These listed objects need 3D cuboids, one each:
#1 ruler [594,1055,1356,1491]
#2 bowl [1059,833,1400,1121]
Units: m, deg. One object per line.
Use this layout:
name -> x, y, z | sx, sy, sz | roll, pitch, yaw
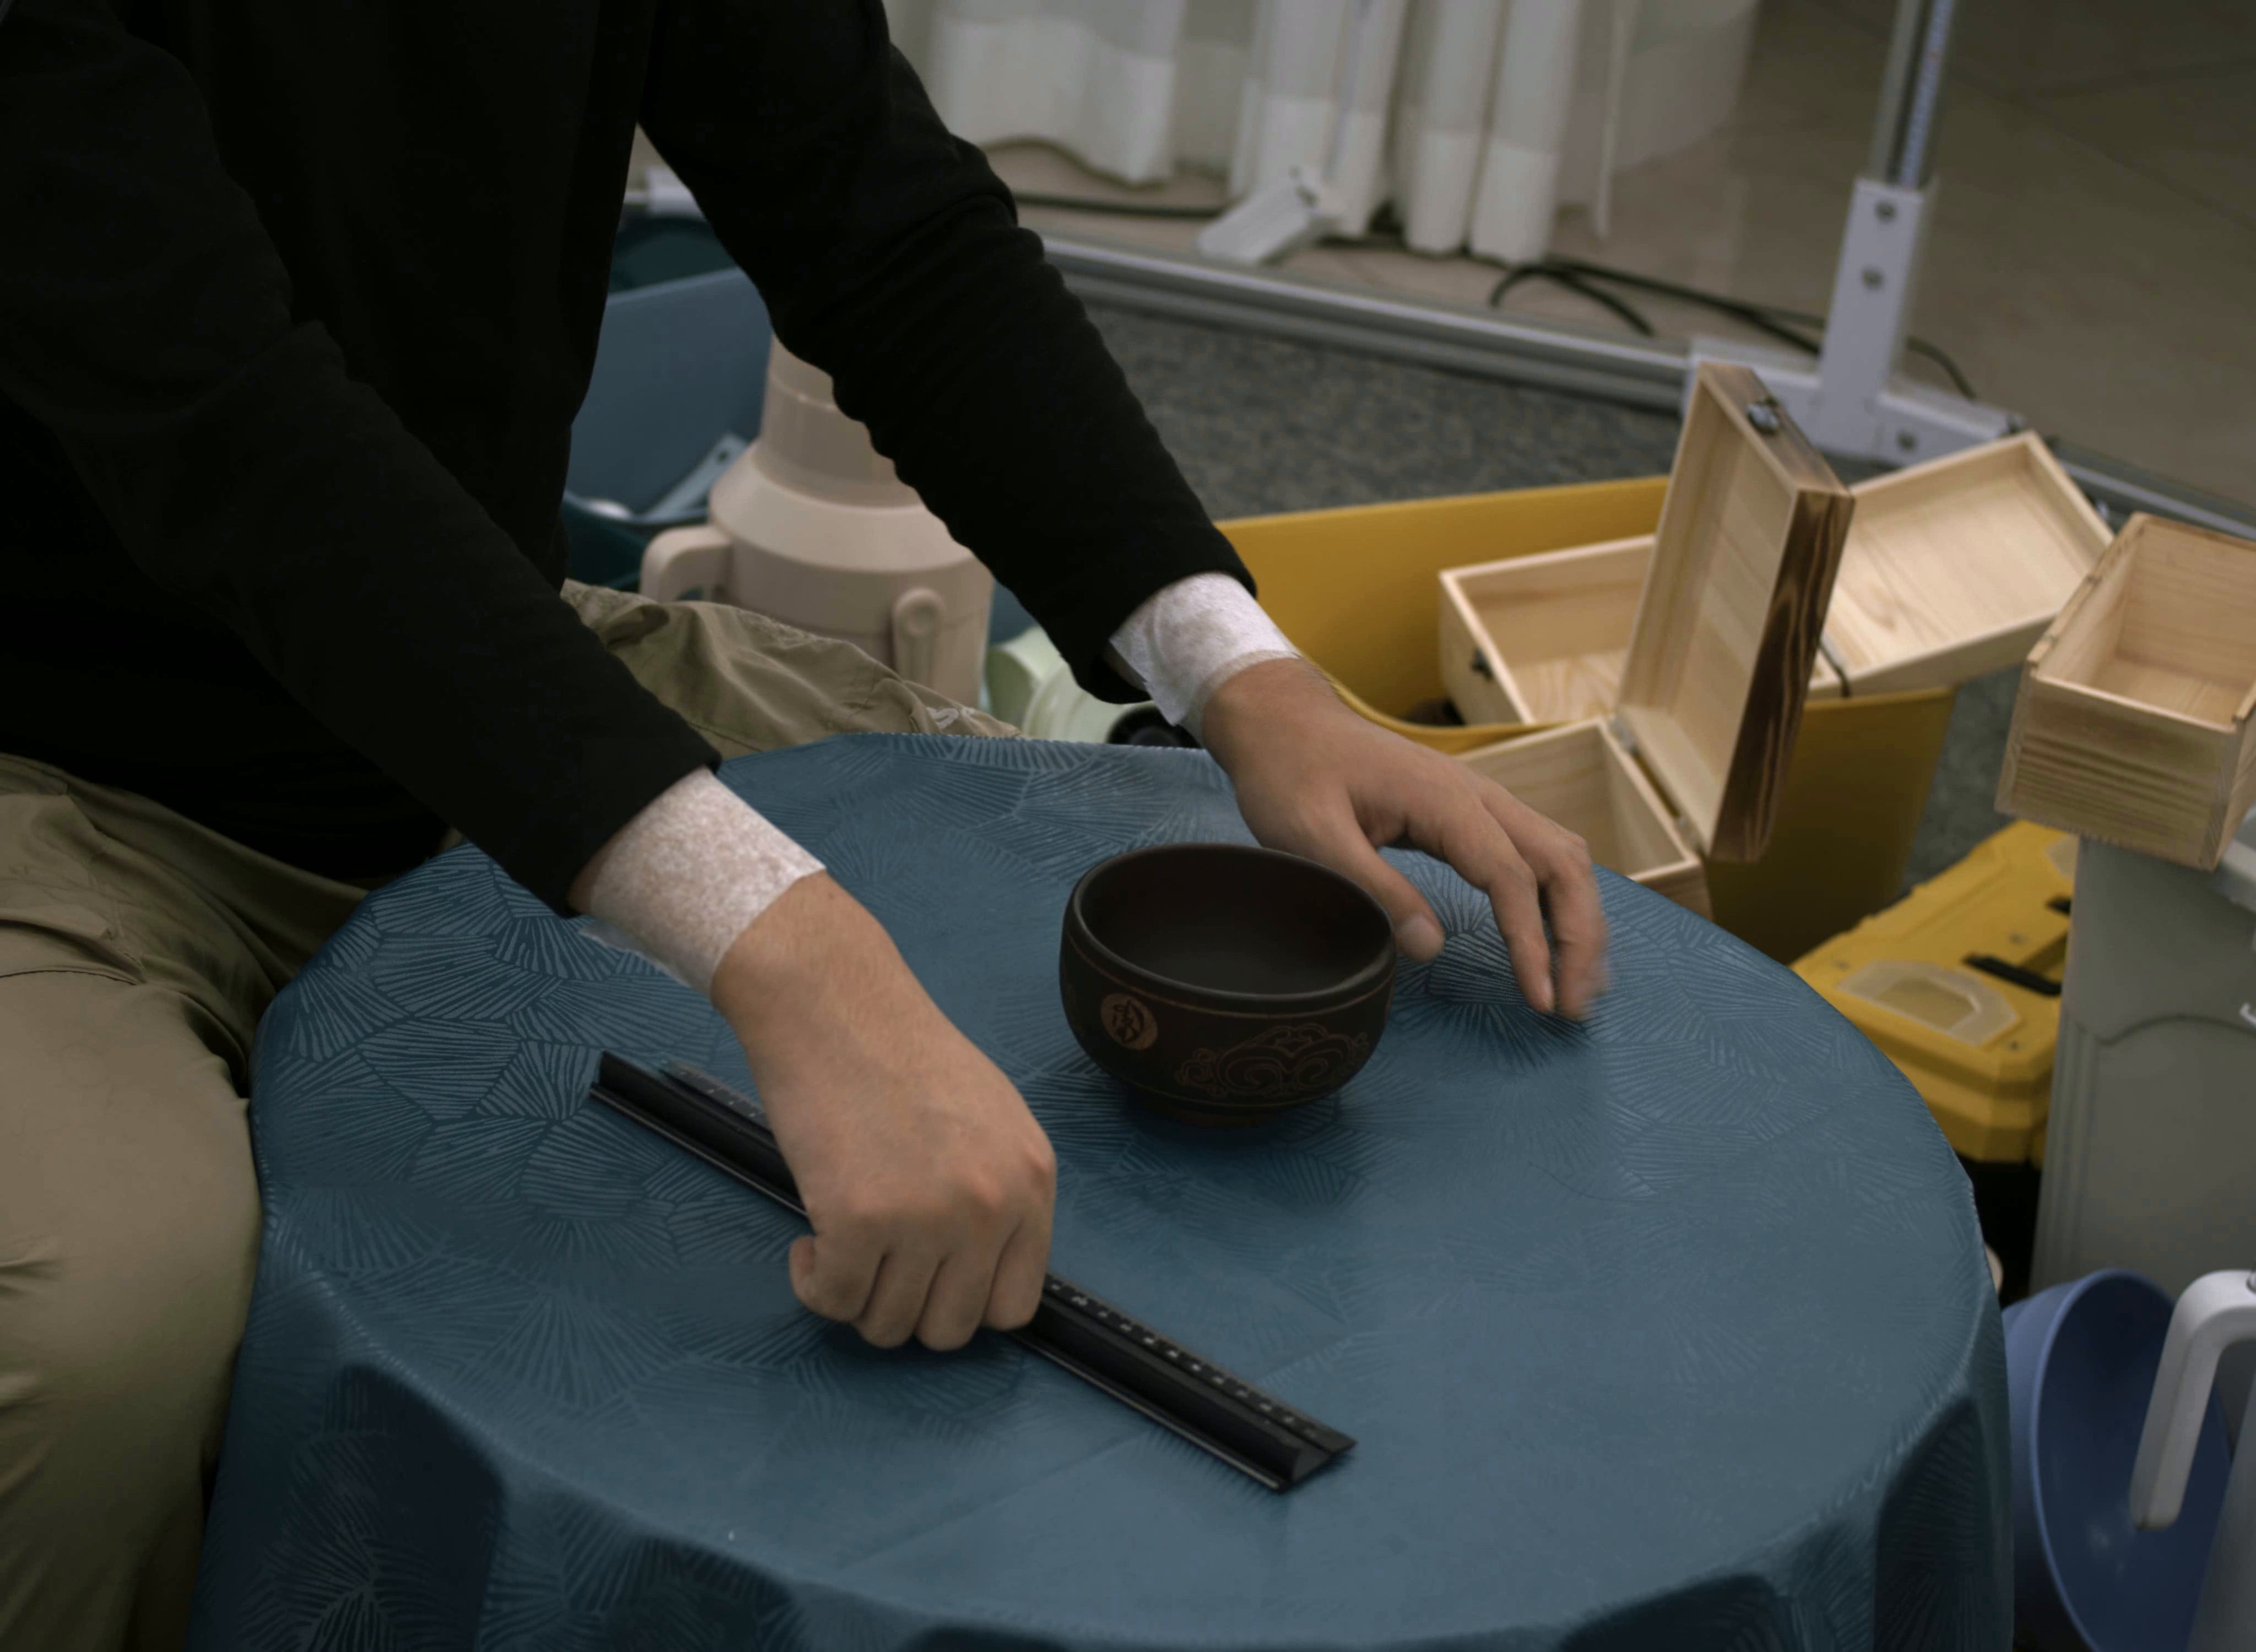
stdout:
ruler -> -0.054, 0.138, 1.743 | 0.315, 0.017, 0.039 | 26, 32, 34
bowl -> 0.033, 0.059, 1.855 | 0.117, 0.069, 0.119 | 6, 27, -3
